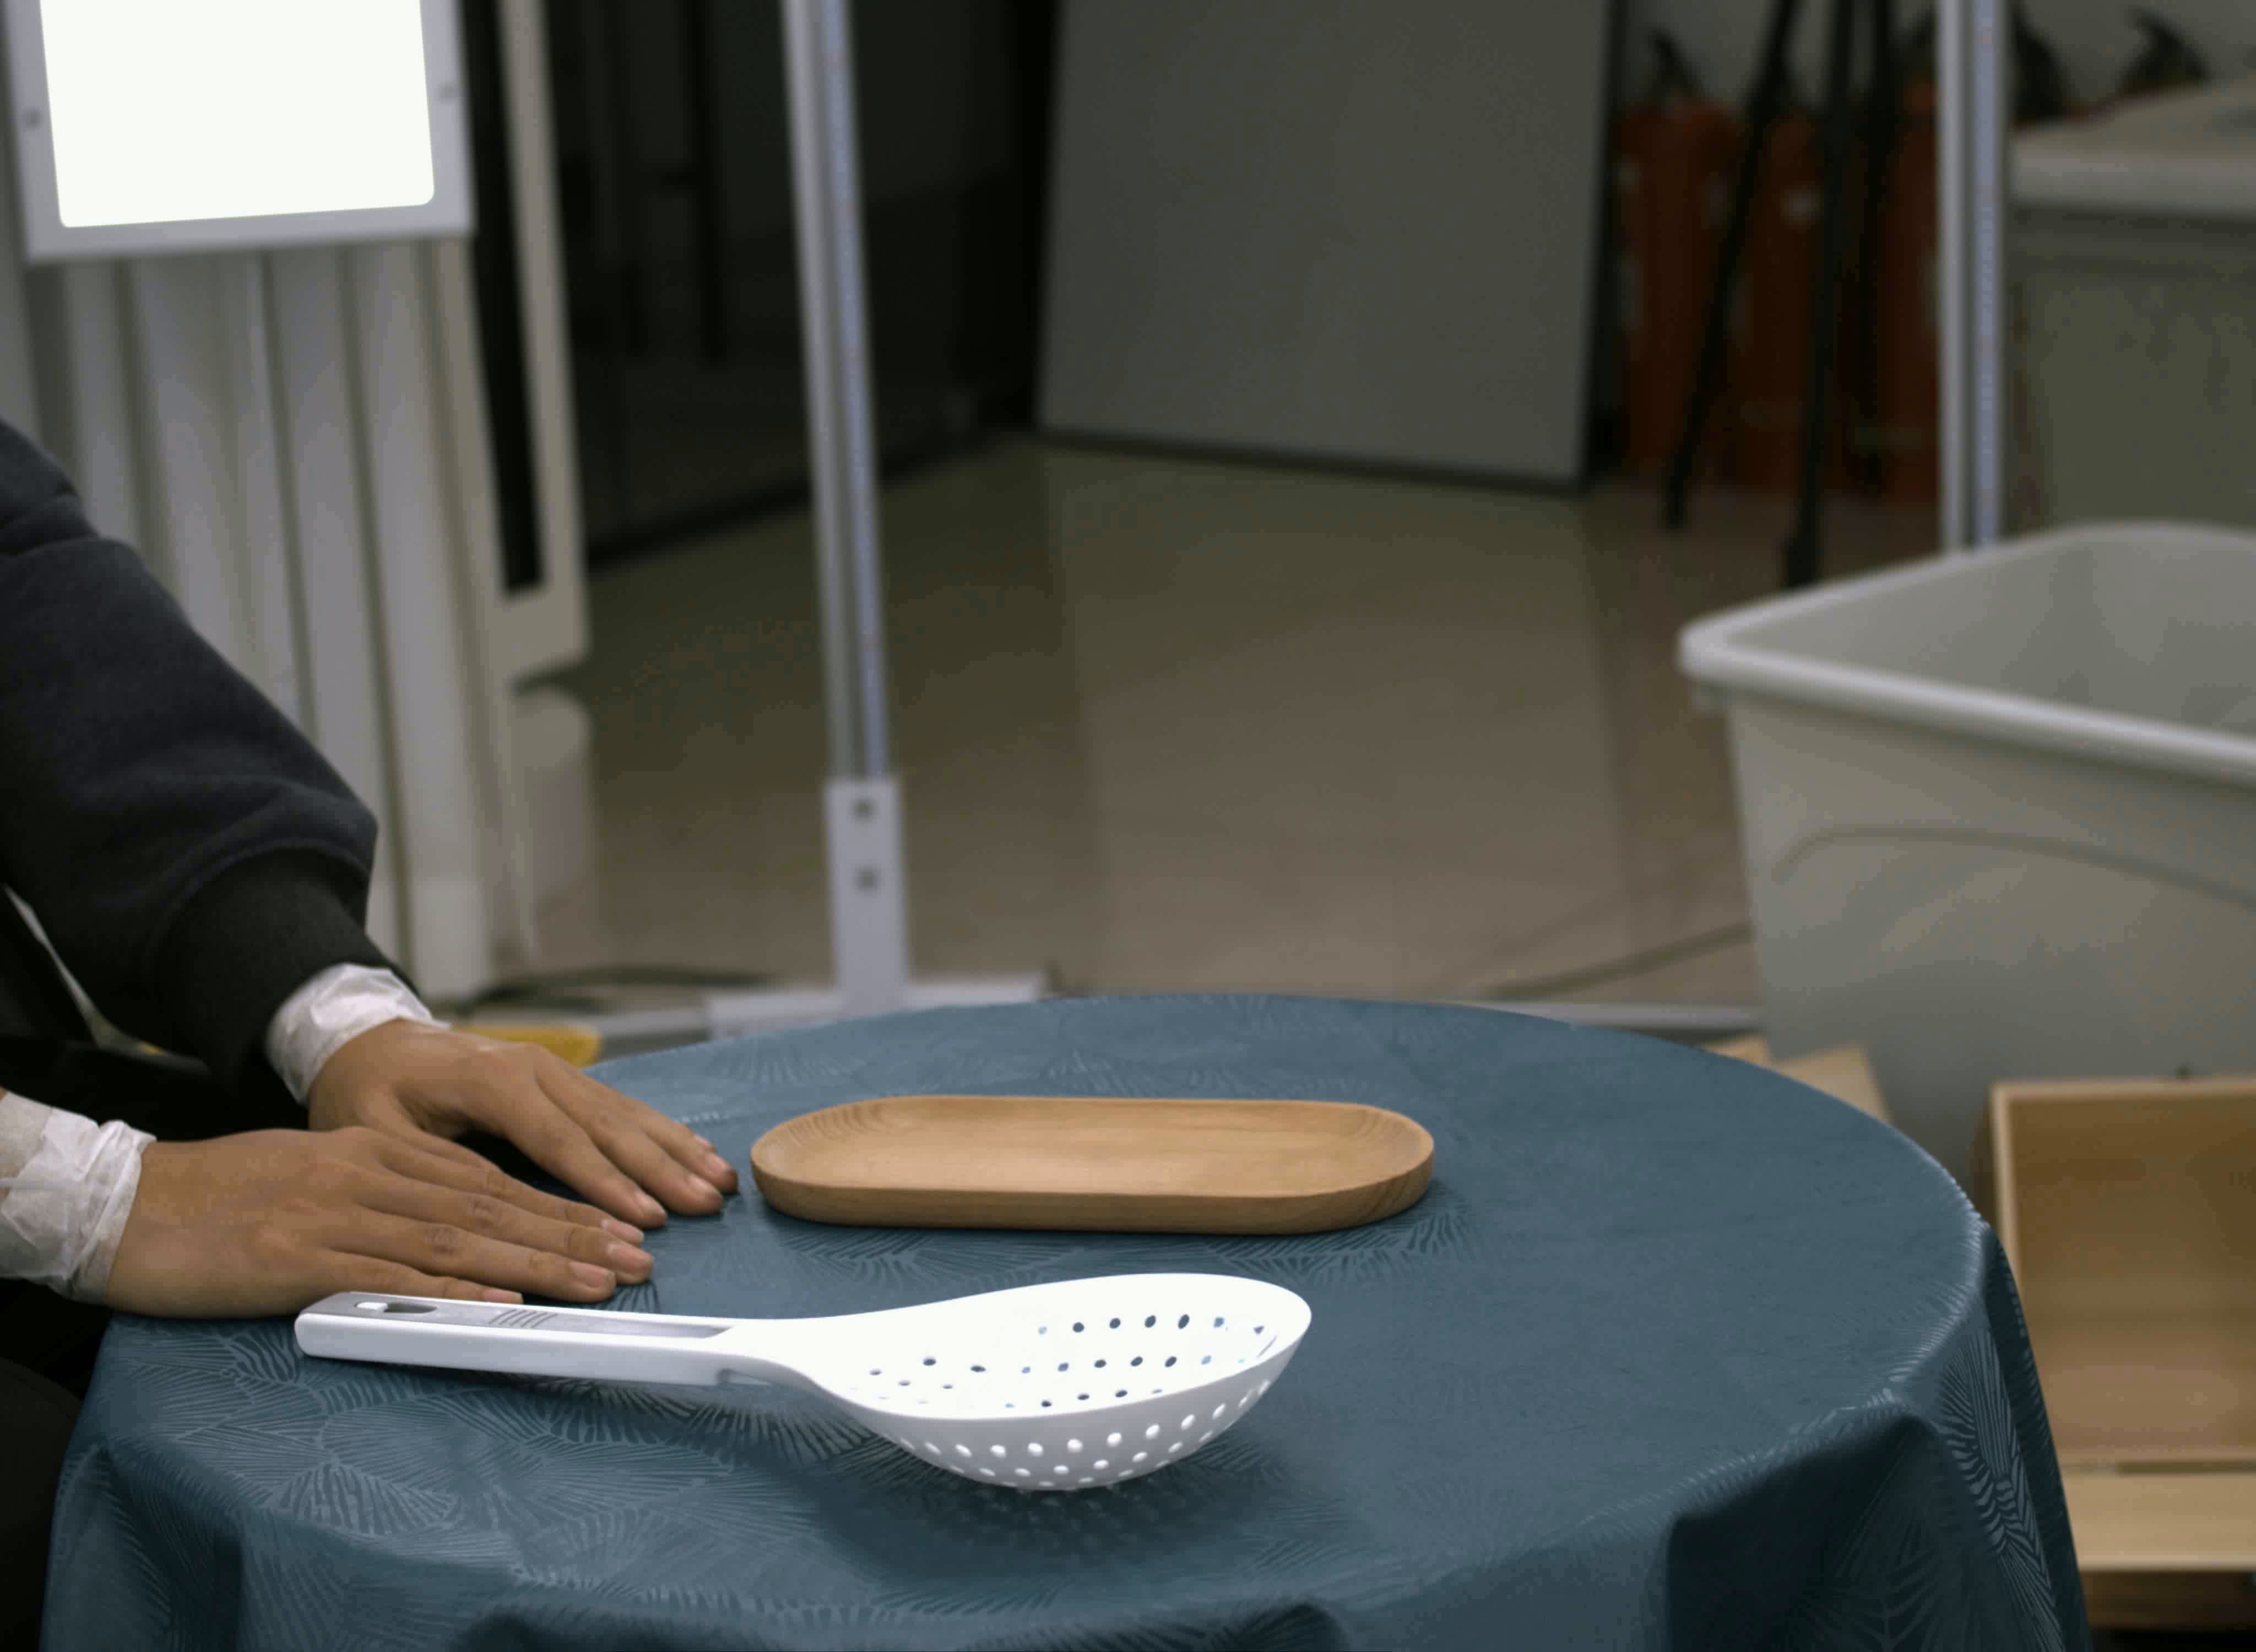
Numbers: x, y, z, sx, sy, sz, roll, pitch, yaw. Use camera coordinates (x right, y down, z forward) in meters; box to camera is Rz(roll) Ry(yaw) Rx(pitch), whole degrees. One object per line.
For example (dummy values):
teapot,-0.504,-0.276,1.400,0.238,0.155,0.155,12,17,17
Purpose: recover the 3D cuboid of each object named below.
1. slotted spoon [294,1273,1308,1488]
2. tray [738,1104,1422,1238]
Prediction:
slotted spoon,-0.105,0.153,1.570,0.351,0.046,0.134,4,13,33
tray,-0.016,0.113,1.771,0.230,0.020,0.101,-1,13,15
